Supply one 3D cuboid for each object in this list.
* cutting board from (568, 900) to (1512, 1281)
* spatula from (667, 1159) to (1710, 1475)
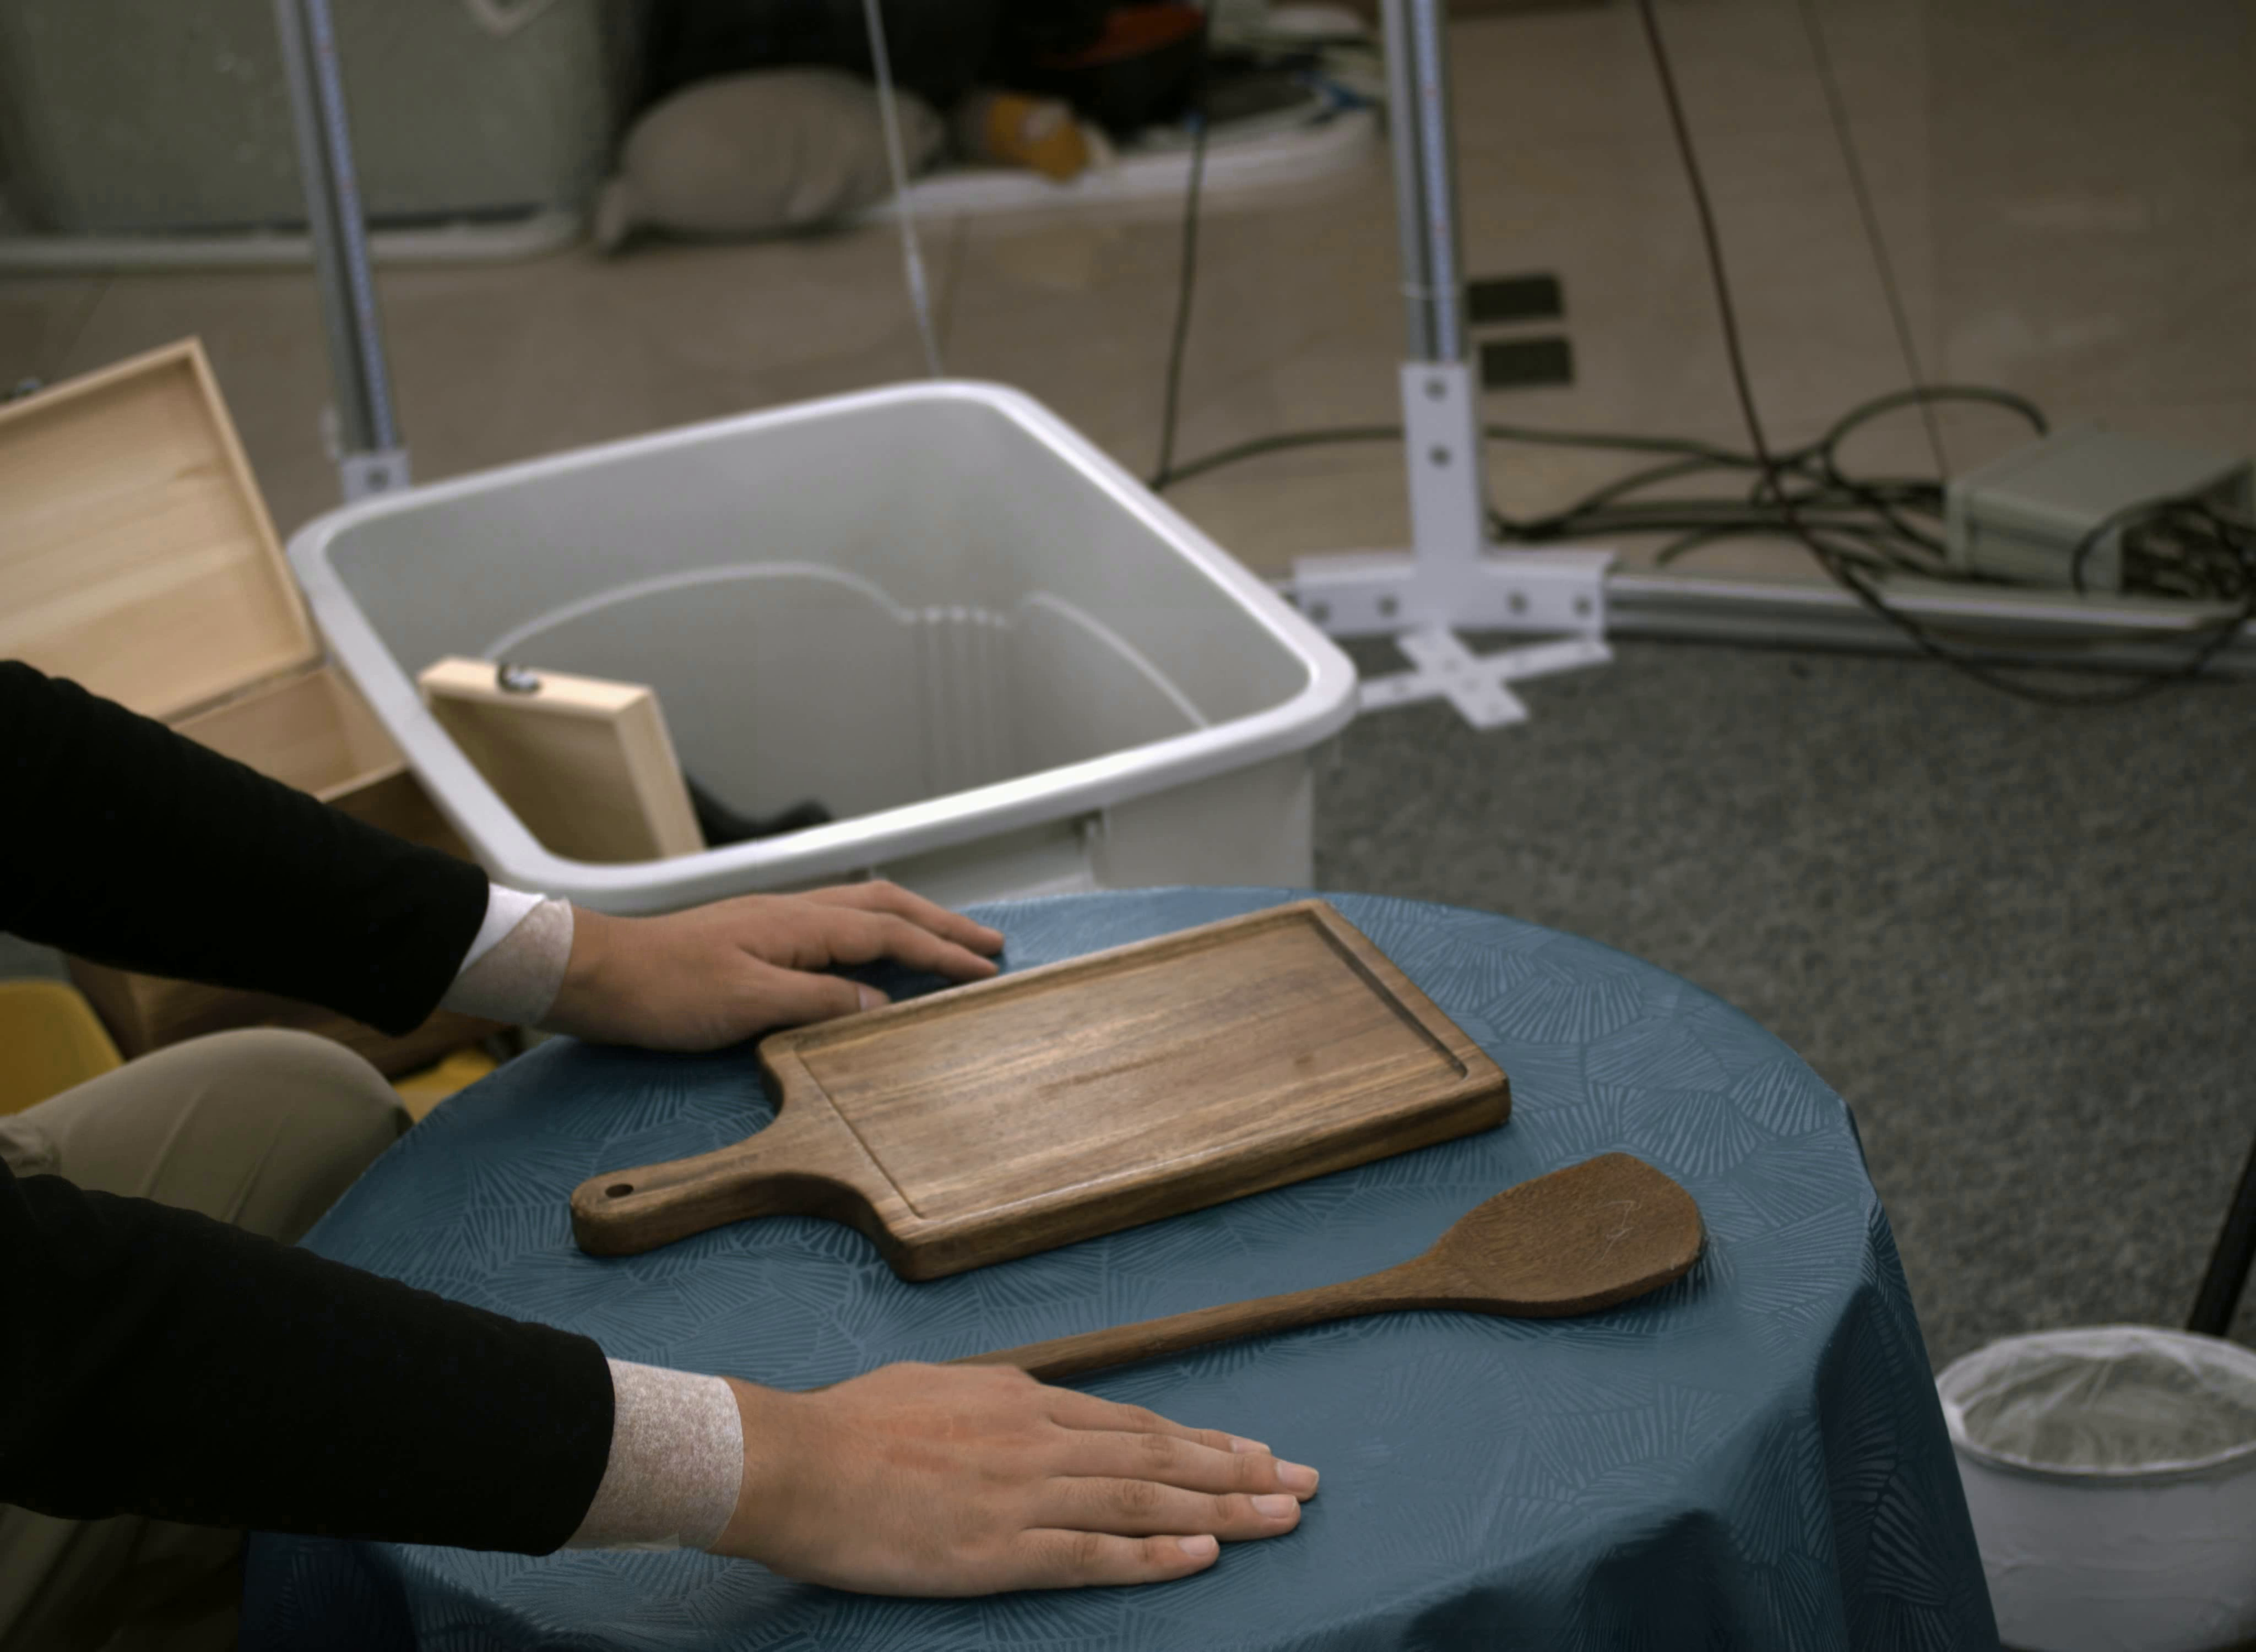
[{"bbox_3d":[-0.048,0.110,2.197,0.351,0.023,0.198,-14,26,-16],"label":"cutting board"},{"bbox_3d":[0.022,0.181,2.035,0.385,0.016,0.095,-12,25,-11],"label":"spatula"}]
